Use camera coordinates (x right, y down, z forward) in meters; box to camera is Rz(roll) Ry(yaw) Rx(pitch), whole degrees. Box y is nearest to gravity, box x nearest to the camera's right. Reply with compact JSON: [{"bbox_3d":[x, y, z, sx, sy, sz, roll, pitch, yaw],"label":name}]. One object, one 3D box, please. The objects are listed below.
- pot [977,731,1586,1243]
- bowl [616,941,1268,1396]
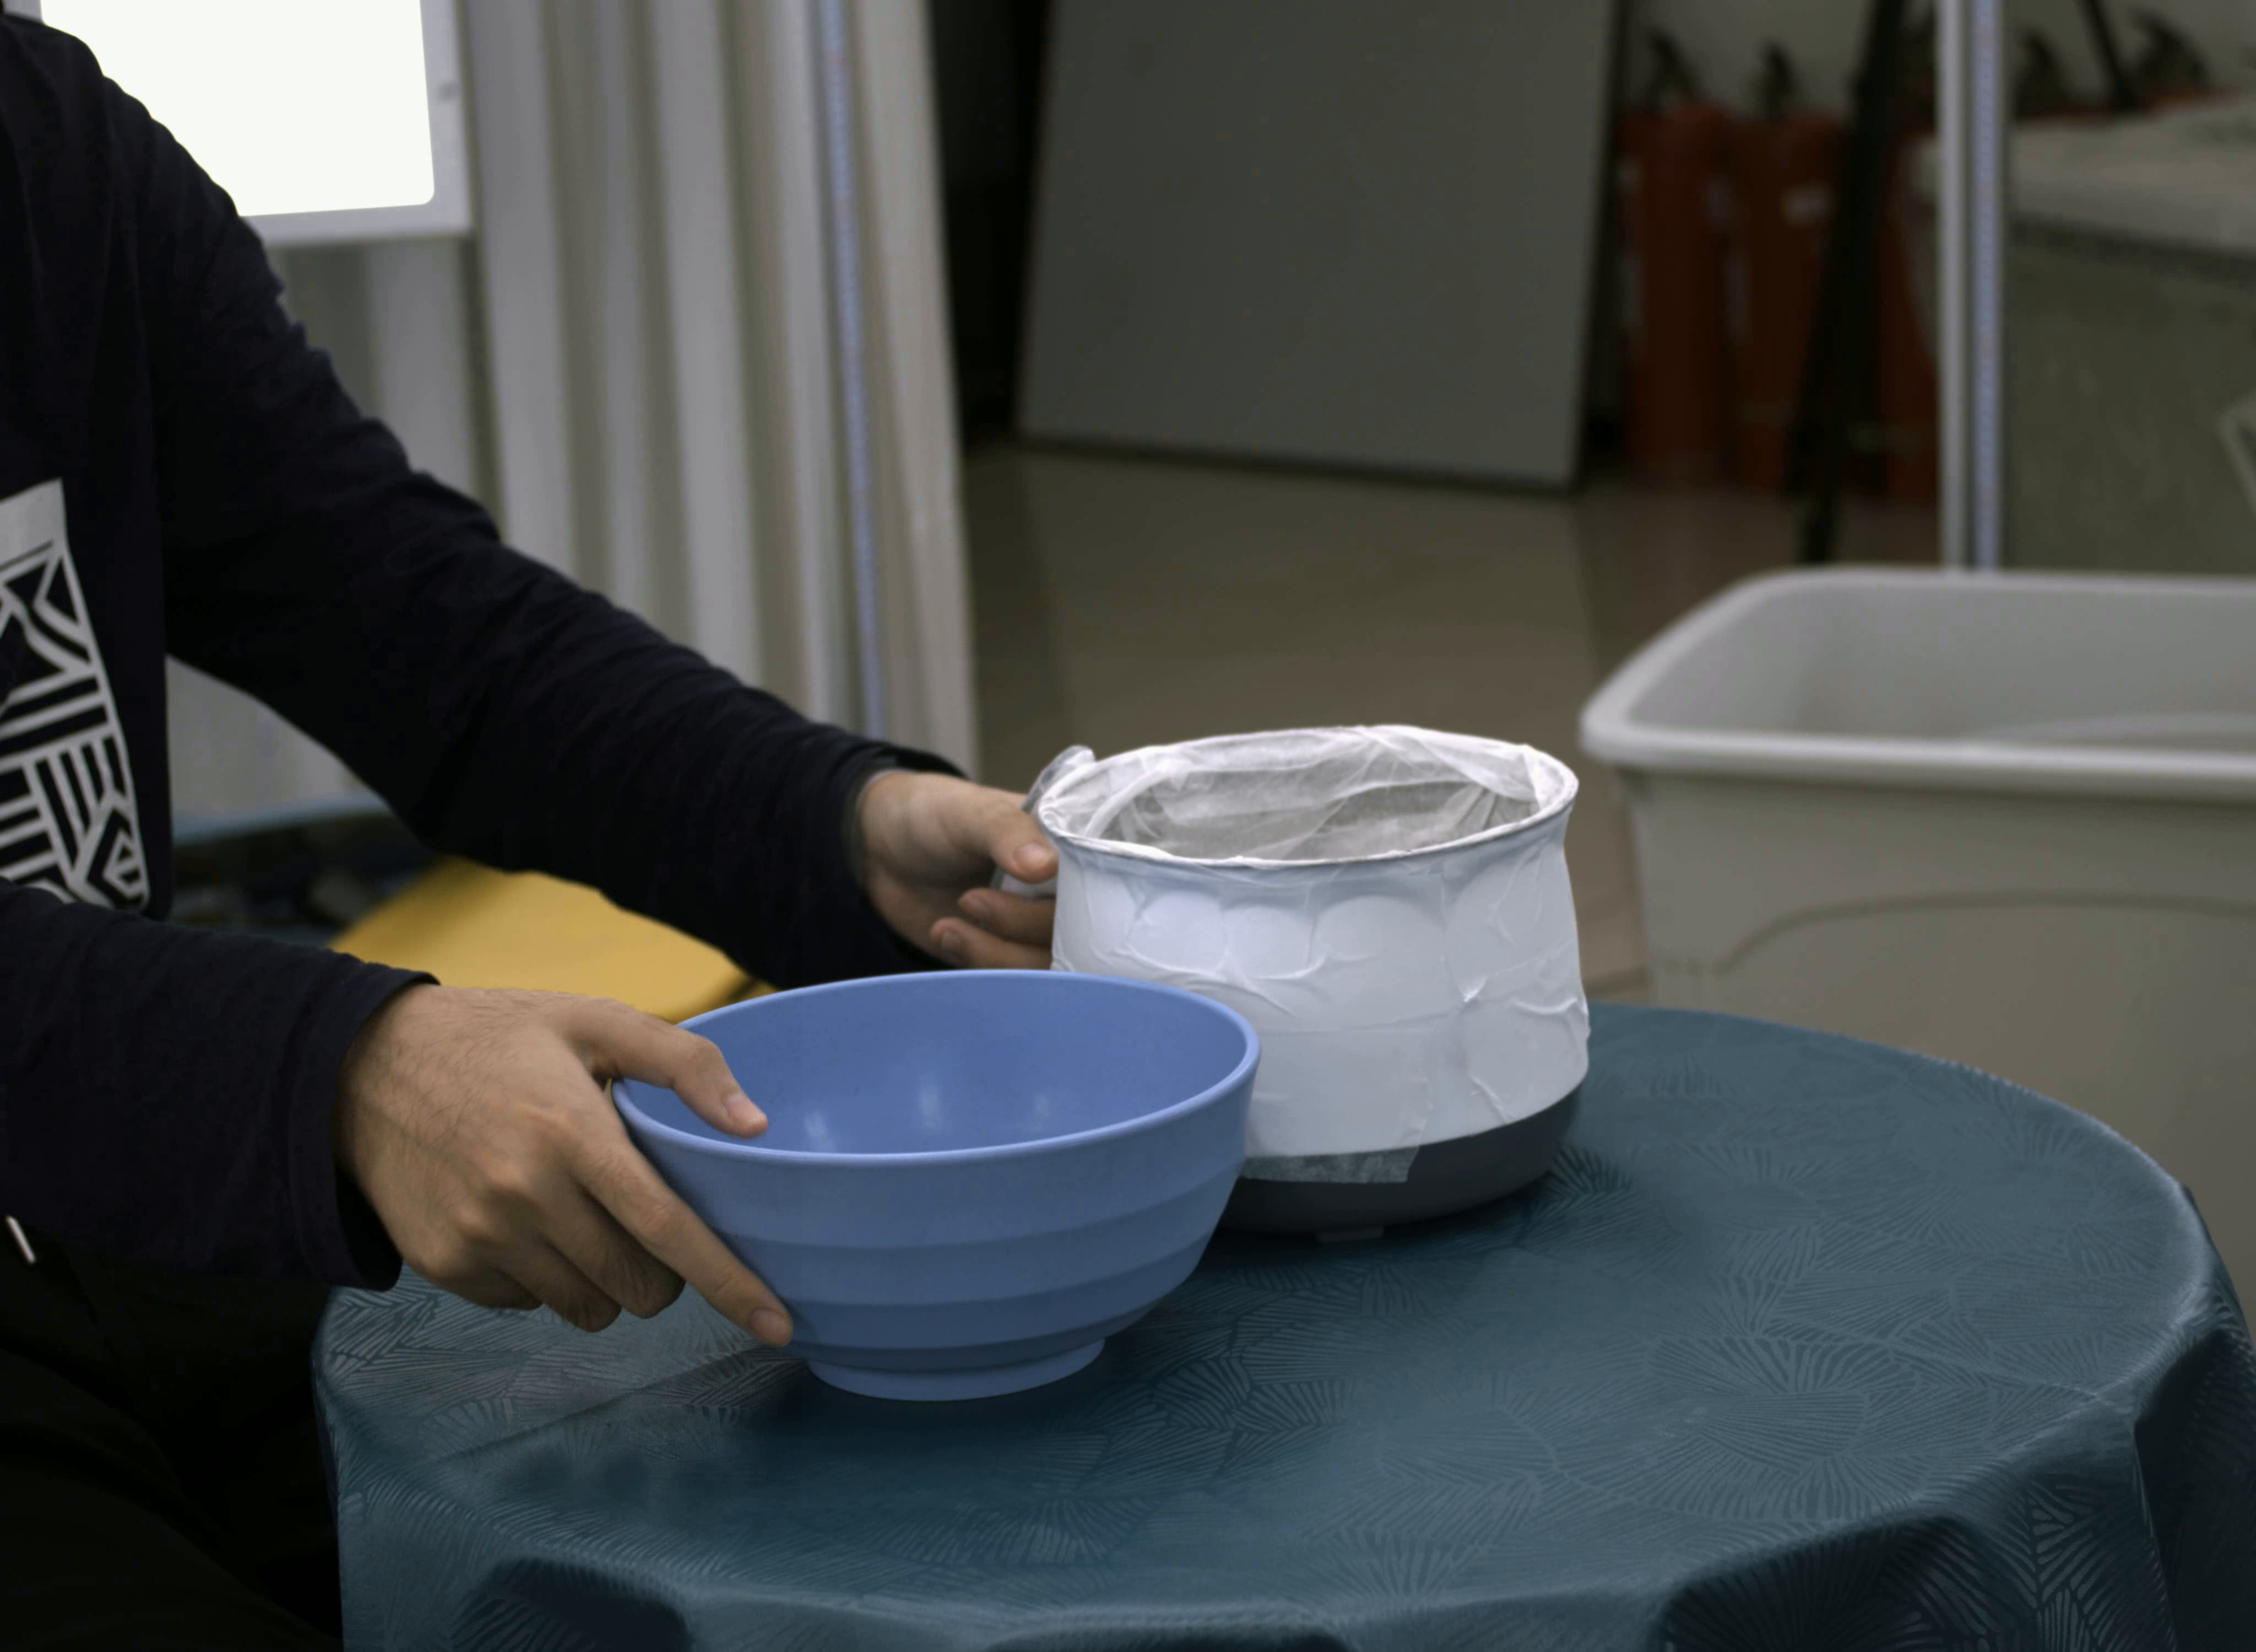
[{"bbox_3d":[0.041,0.047,1.777,0.235,0.138,0.175,7,15,39],"label":"pot"},{"bbox_3d":[-0.054,0.109,1.620,0.194,0.096,0.197,-2,17,0],"label":"bowl"}]
